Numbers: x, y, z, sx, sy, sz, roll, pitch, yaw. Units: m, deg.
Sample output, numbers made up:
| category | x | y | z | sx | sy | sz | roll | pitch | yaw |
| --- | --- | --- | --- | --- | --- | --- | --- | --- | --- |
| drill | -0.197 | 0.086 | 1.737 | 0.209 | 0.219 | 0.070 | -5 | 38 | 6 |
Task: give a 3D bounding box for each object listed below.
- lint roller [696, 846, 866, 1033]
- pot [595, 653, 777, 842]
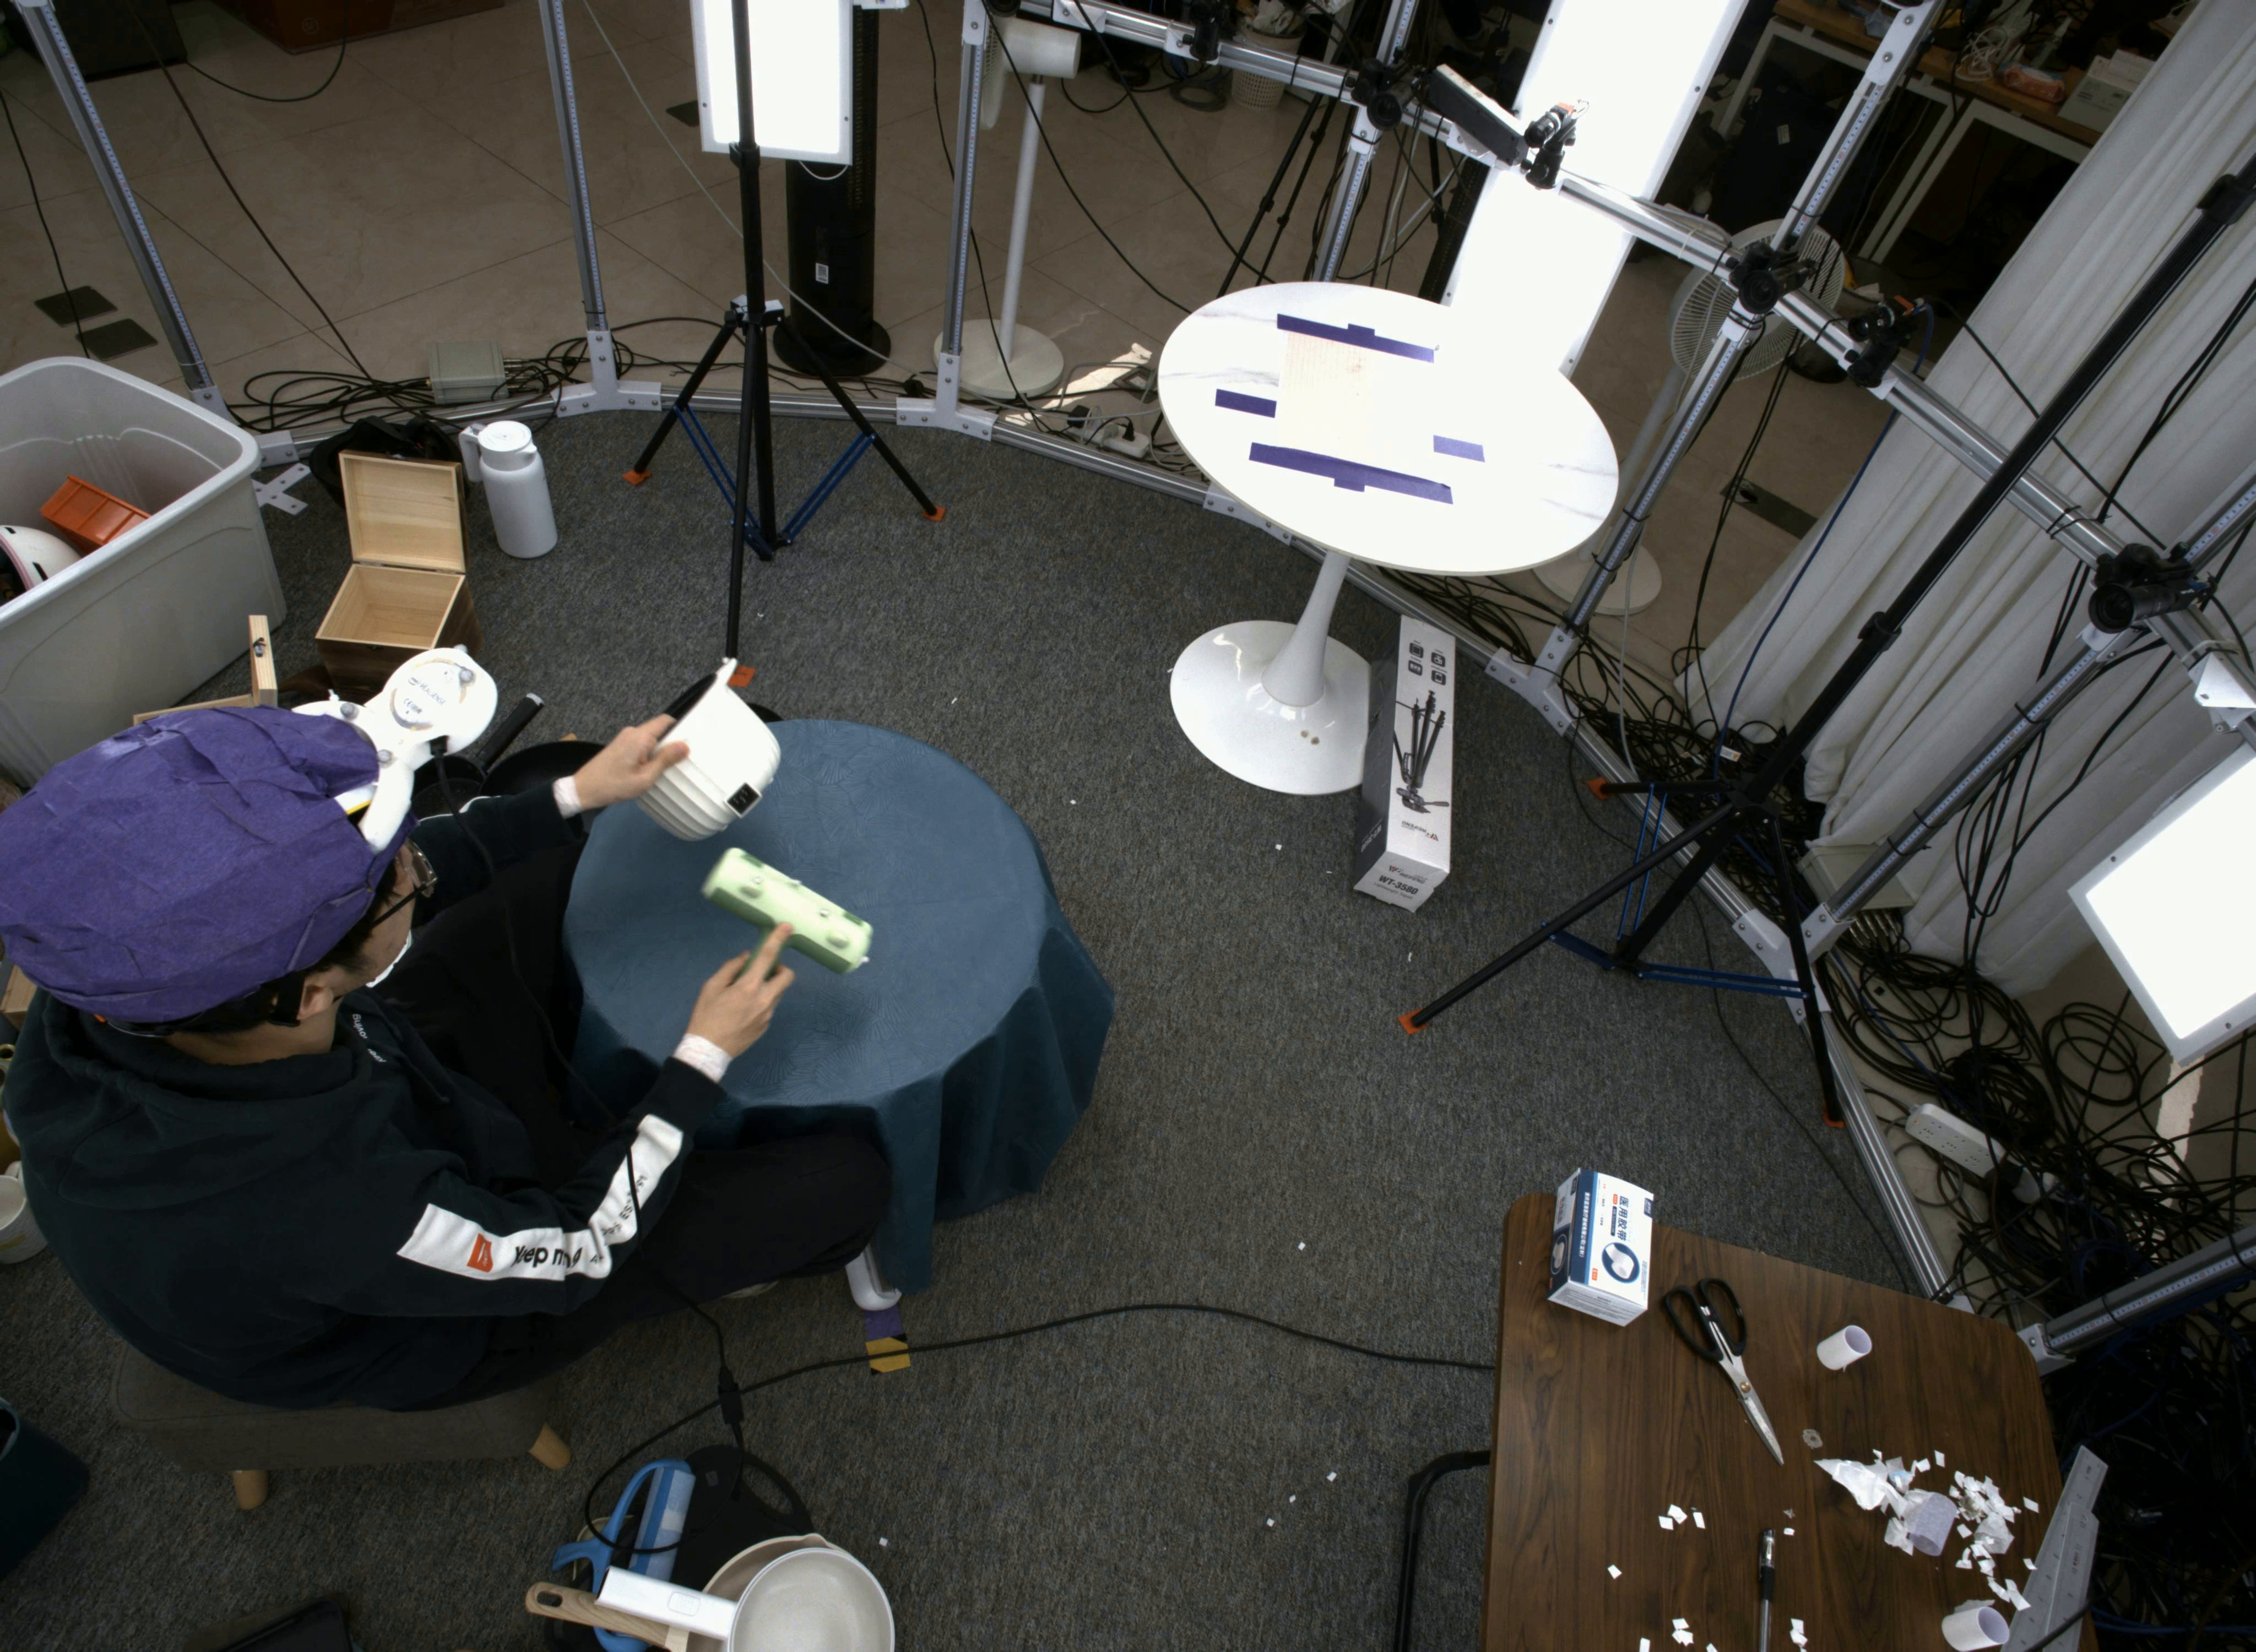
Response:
| category | x | y | z | sx | sy | sz | roll | pitch | yaw |
| --- | --- | --- | --- | --- | --- | --- | --- | --- | --- |
| lint roller | -0.409 | 0.142 | 1.463 | 0.203 | 0.081 | 0.181 | 34 | 55 | -25 |
| pot | -0.527 | -0.079 | 1.575 | 0.240 | 0.185 | 0.147 | -49 | 115 | -14 |
